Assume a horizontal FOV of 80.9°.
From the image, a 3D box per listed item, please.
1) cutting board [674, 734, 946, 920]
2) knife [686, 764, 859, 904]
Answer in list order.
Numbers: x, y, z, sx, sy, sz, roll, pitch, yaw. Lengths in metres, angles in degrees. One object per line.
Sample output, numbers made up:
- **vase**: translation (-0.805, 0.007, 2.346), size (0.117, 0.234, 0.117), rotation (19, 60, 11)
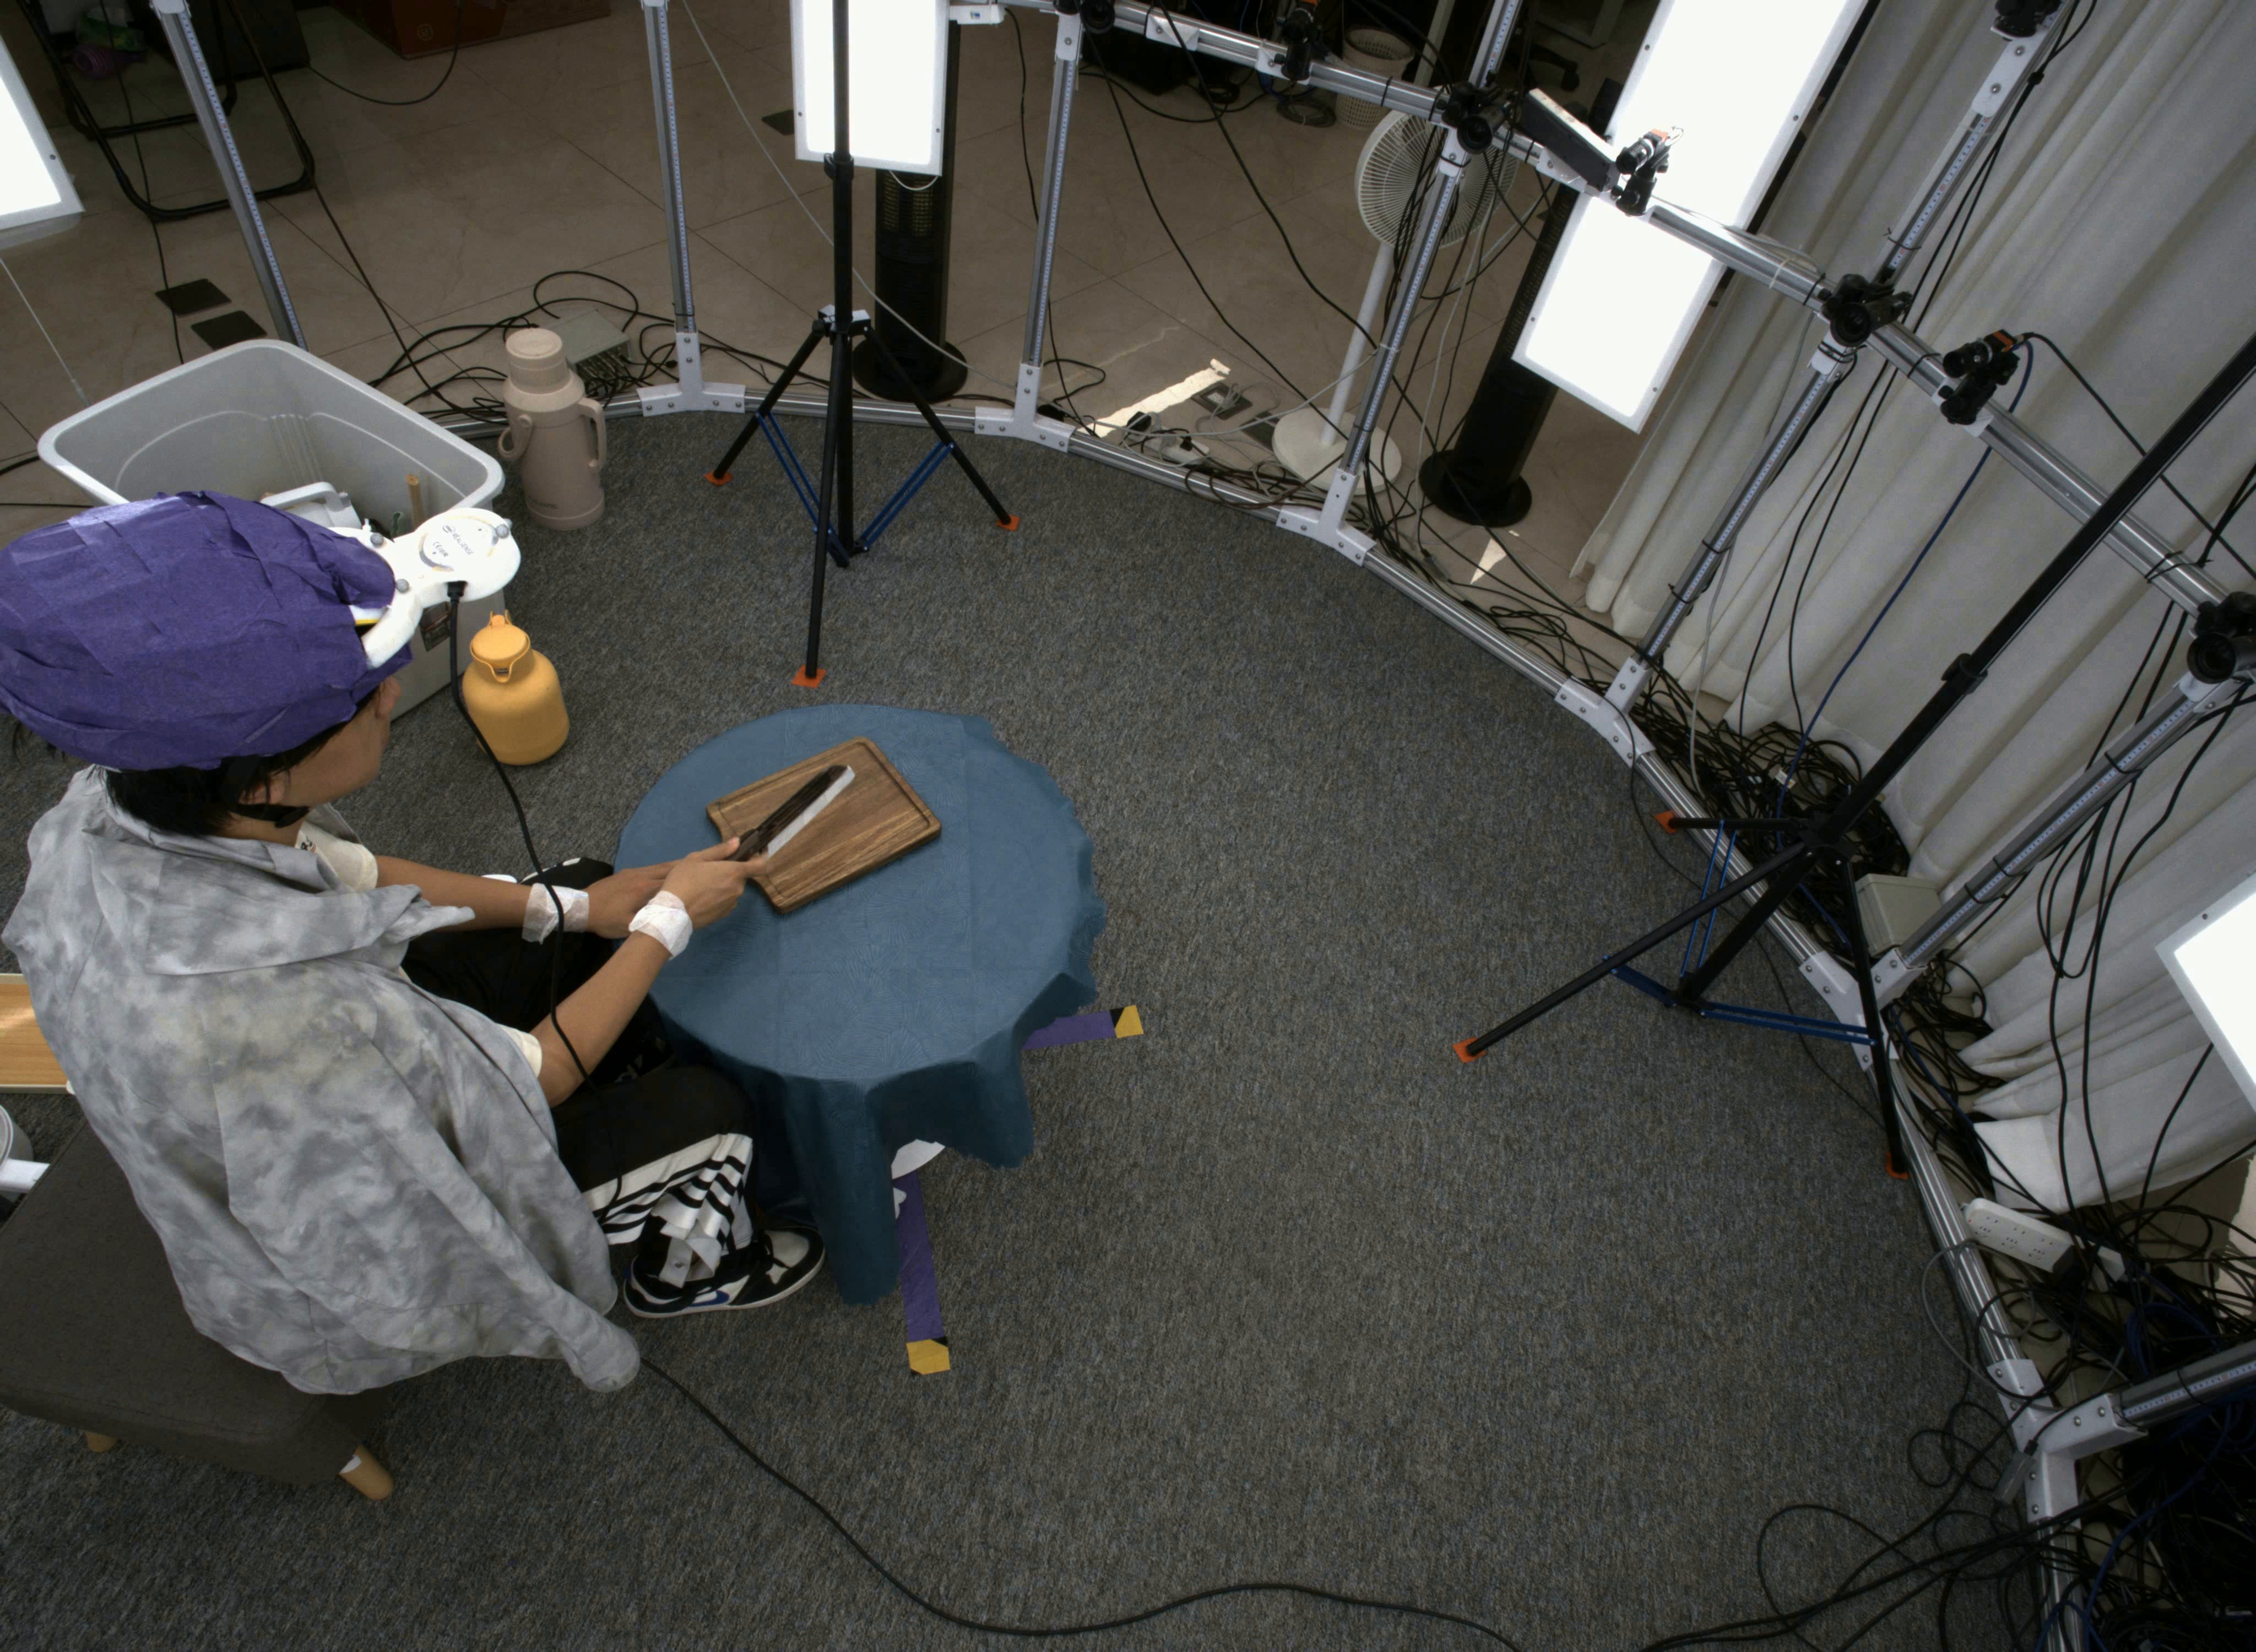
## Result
- **cutting board**: translation (-0.435, 0.014, 1.703), size (0.353, 0.023, 0.196), rotation (-30, 67, -29)
- **knife**: translation (-0.438, 0.008, 1.623), size (0.023, 0.070, 0.299), rotation (28, 53, 18)
